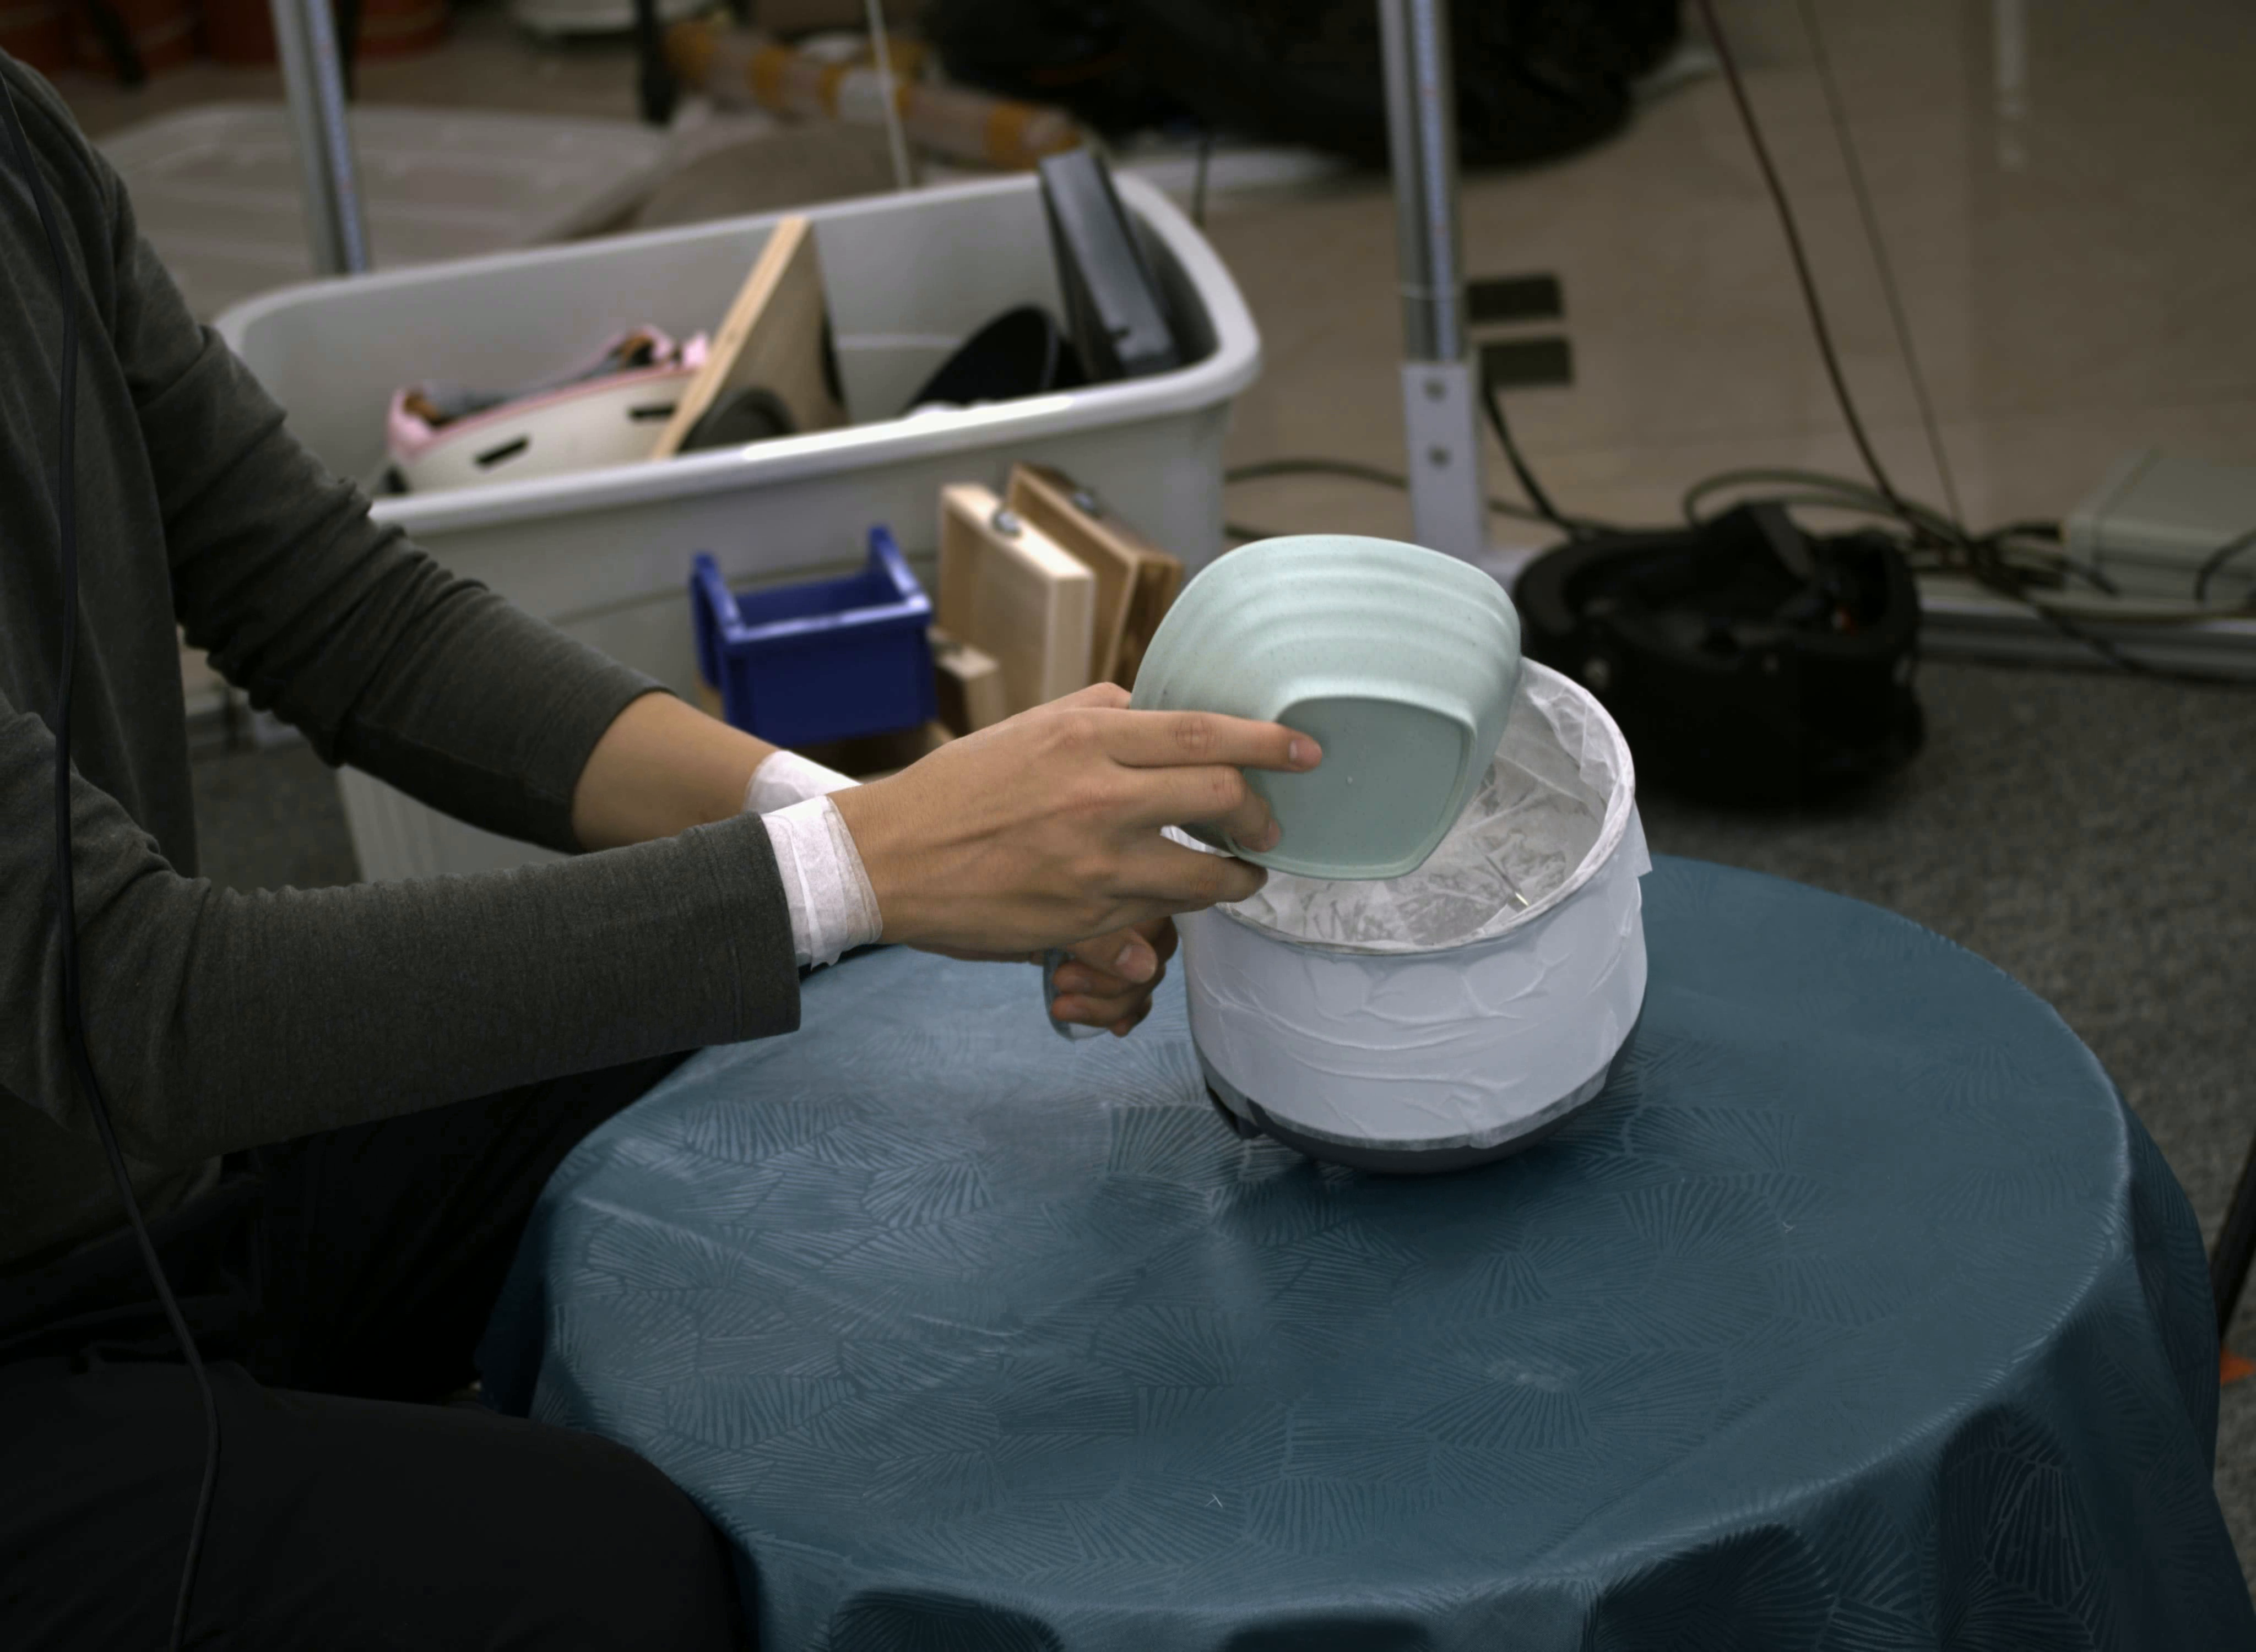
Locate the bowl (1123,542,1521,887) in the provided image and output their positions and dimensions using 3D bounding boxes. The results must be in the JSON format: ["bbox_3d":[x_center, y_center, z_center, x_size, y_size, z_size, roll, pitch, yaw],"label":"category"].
[{"bbox_3d":[0.072,-0.030,2.012,0.151,0.154,0.057,-8,44,-3],"label":"bowl"}]

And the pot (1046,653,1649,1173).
[{"bbox_3d":[0.081,0.035,2.155,0.233,0.139,0.175,-2,42,7],"label":"pot"}]
